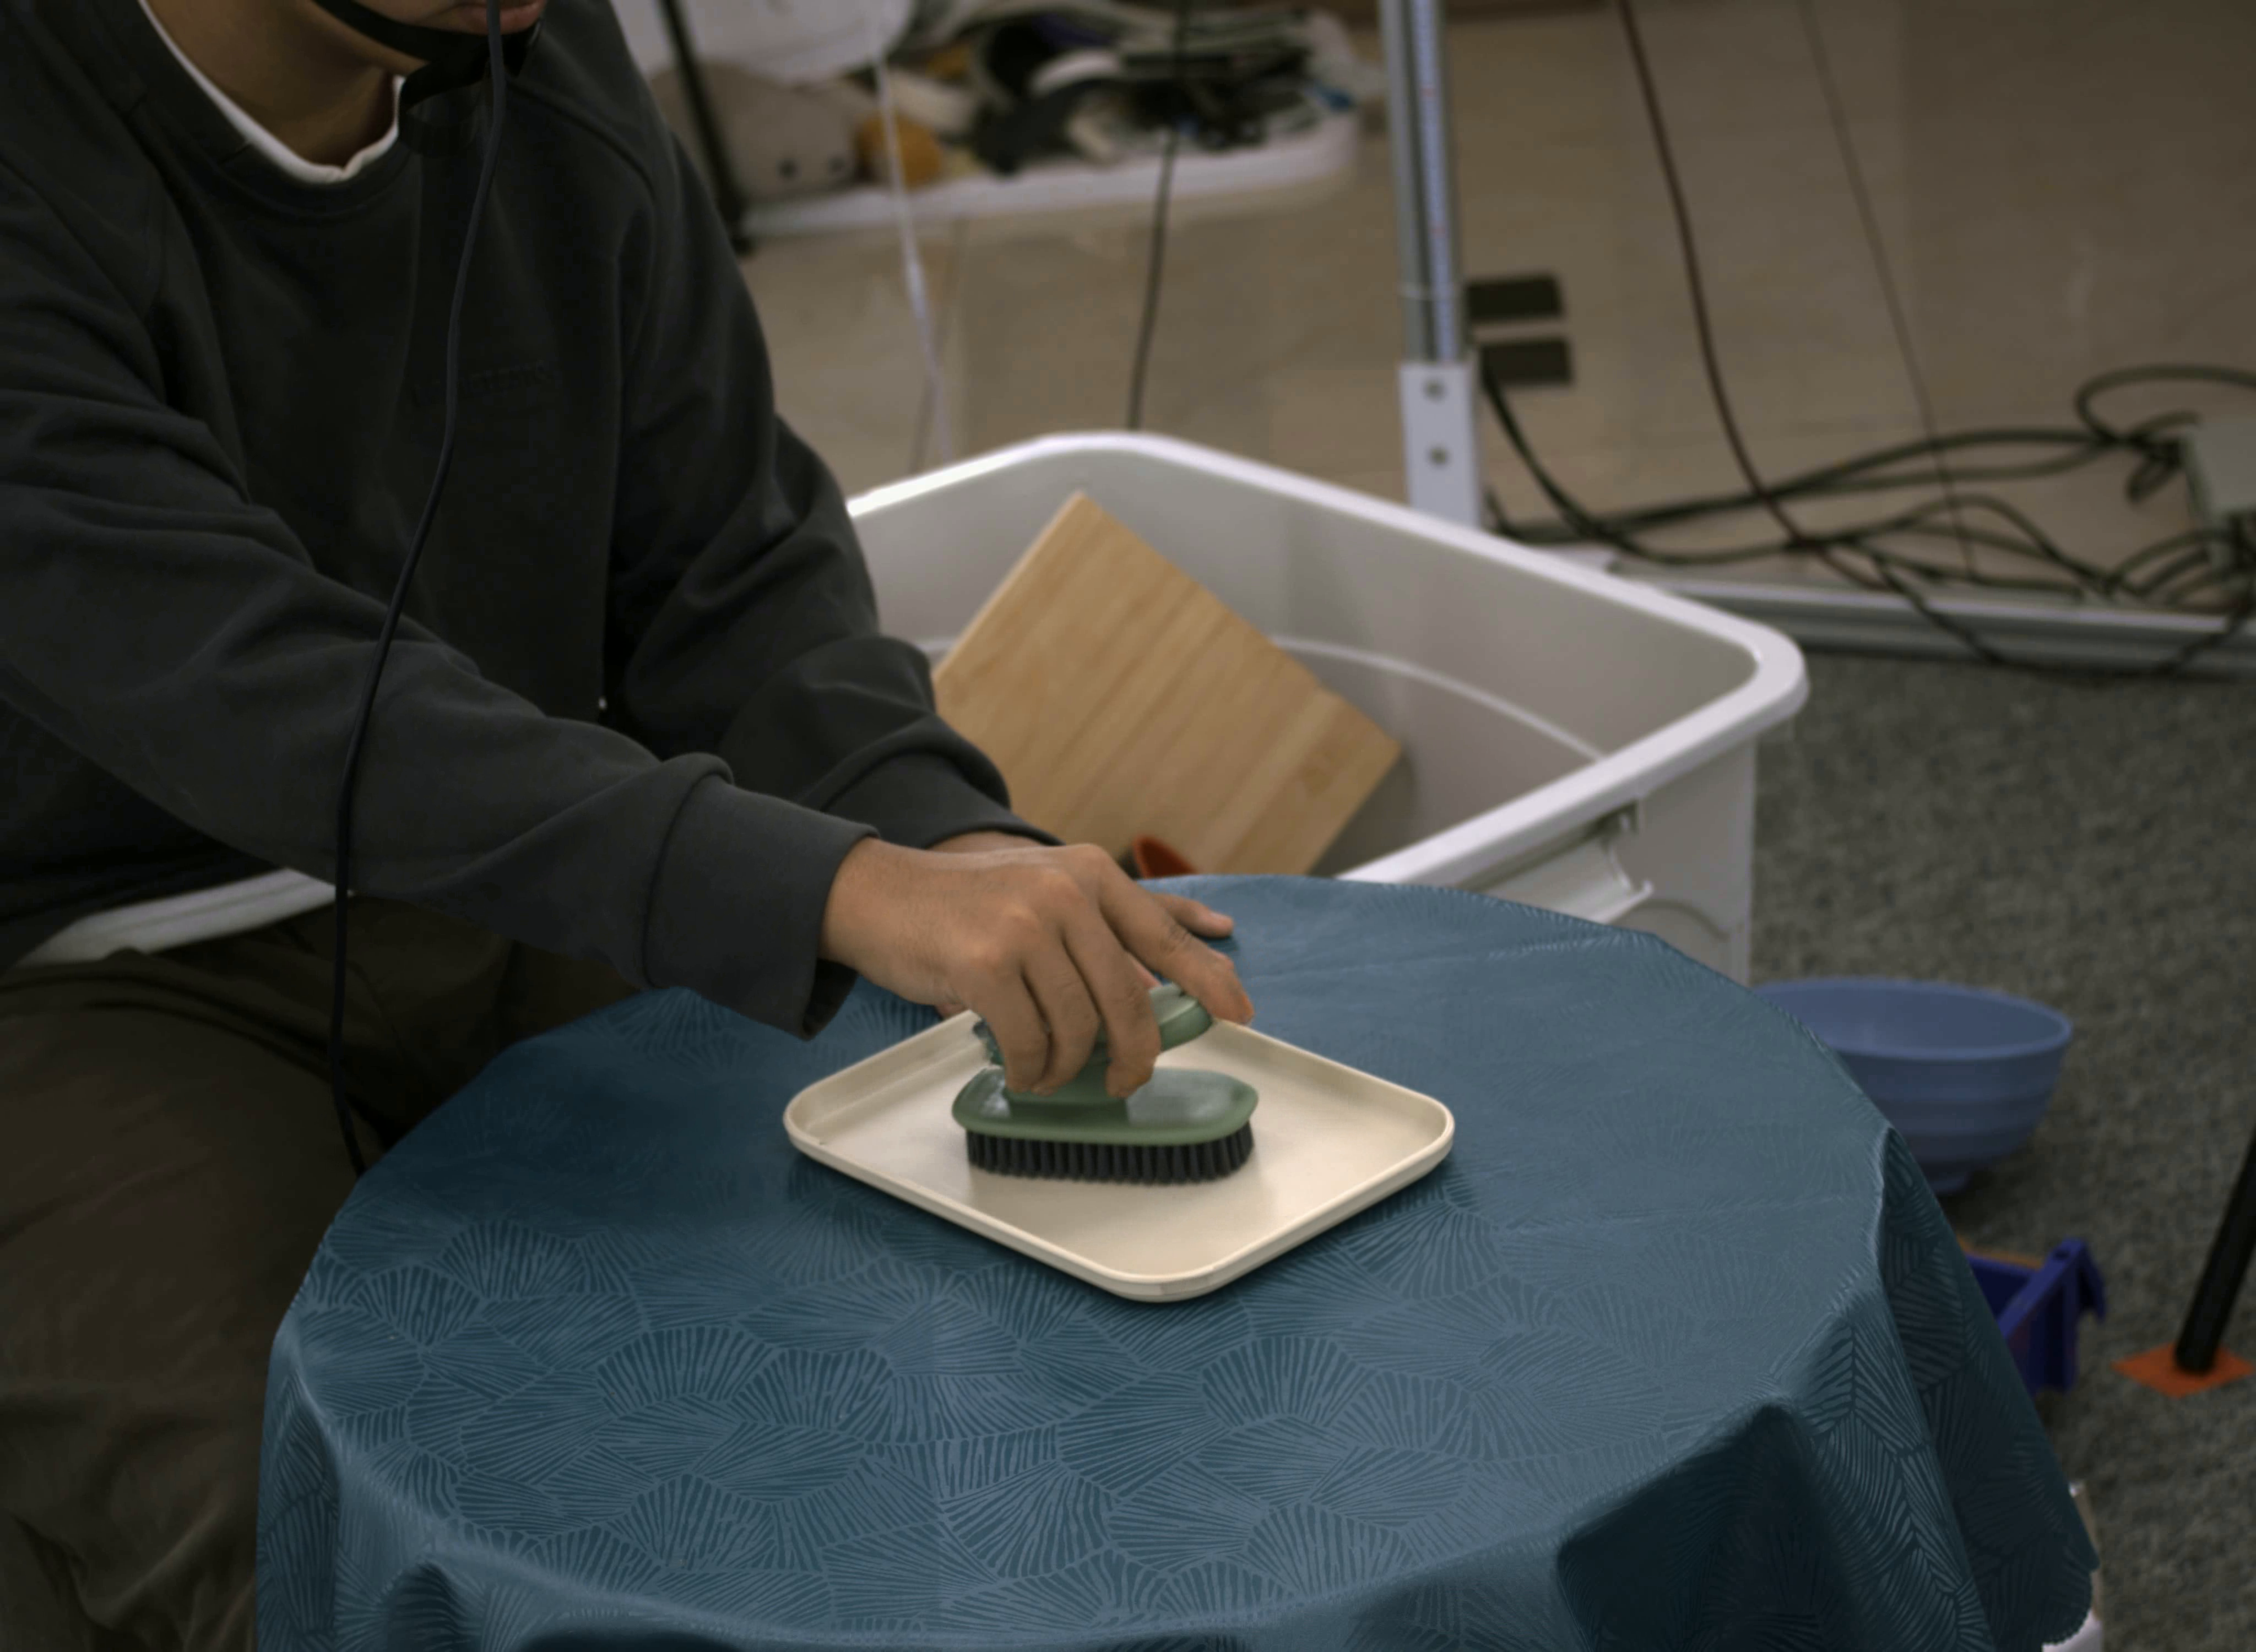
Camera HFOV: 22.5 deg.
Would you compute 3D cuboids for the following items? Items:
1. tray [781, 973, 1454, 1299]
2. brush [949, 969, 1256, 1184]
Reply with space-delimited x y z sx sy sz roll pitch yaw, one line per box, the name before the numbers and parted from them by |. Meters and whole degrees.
tray | -0.005 0.118 2.174 0.170 0.018 0.238 -25 30 -36
brush | -0.009 0.100 2.165 0.123 0.077 0.059 -11 21 22
